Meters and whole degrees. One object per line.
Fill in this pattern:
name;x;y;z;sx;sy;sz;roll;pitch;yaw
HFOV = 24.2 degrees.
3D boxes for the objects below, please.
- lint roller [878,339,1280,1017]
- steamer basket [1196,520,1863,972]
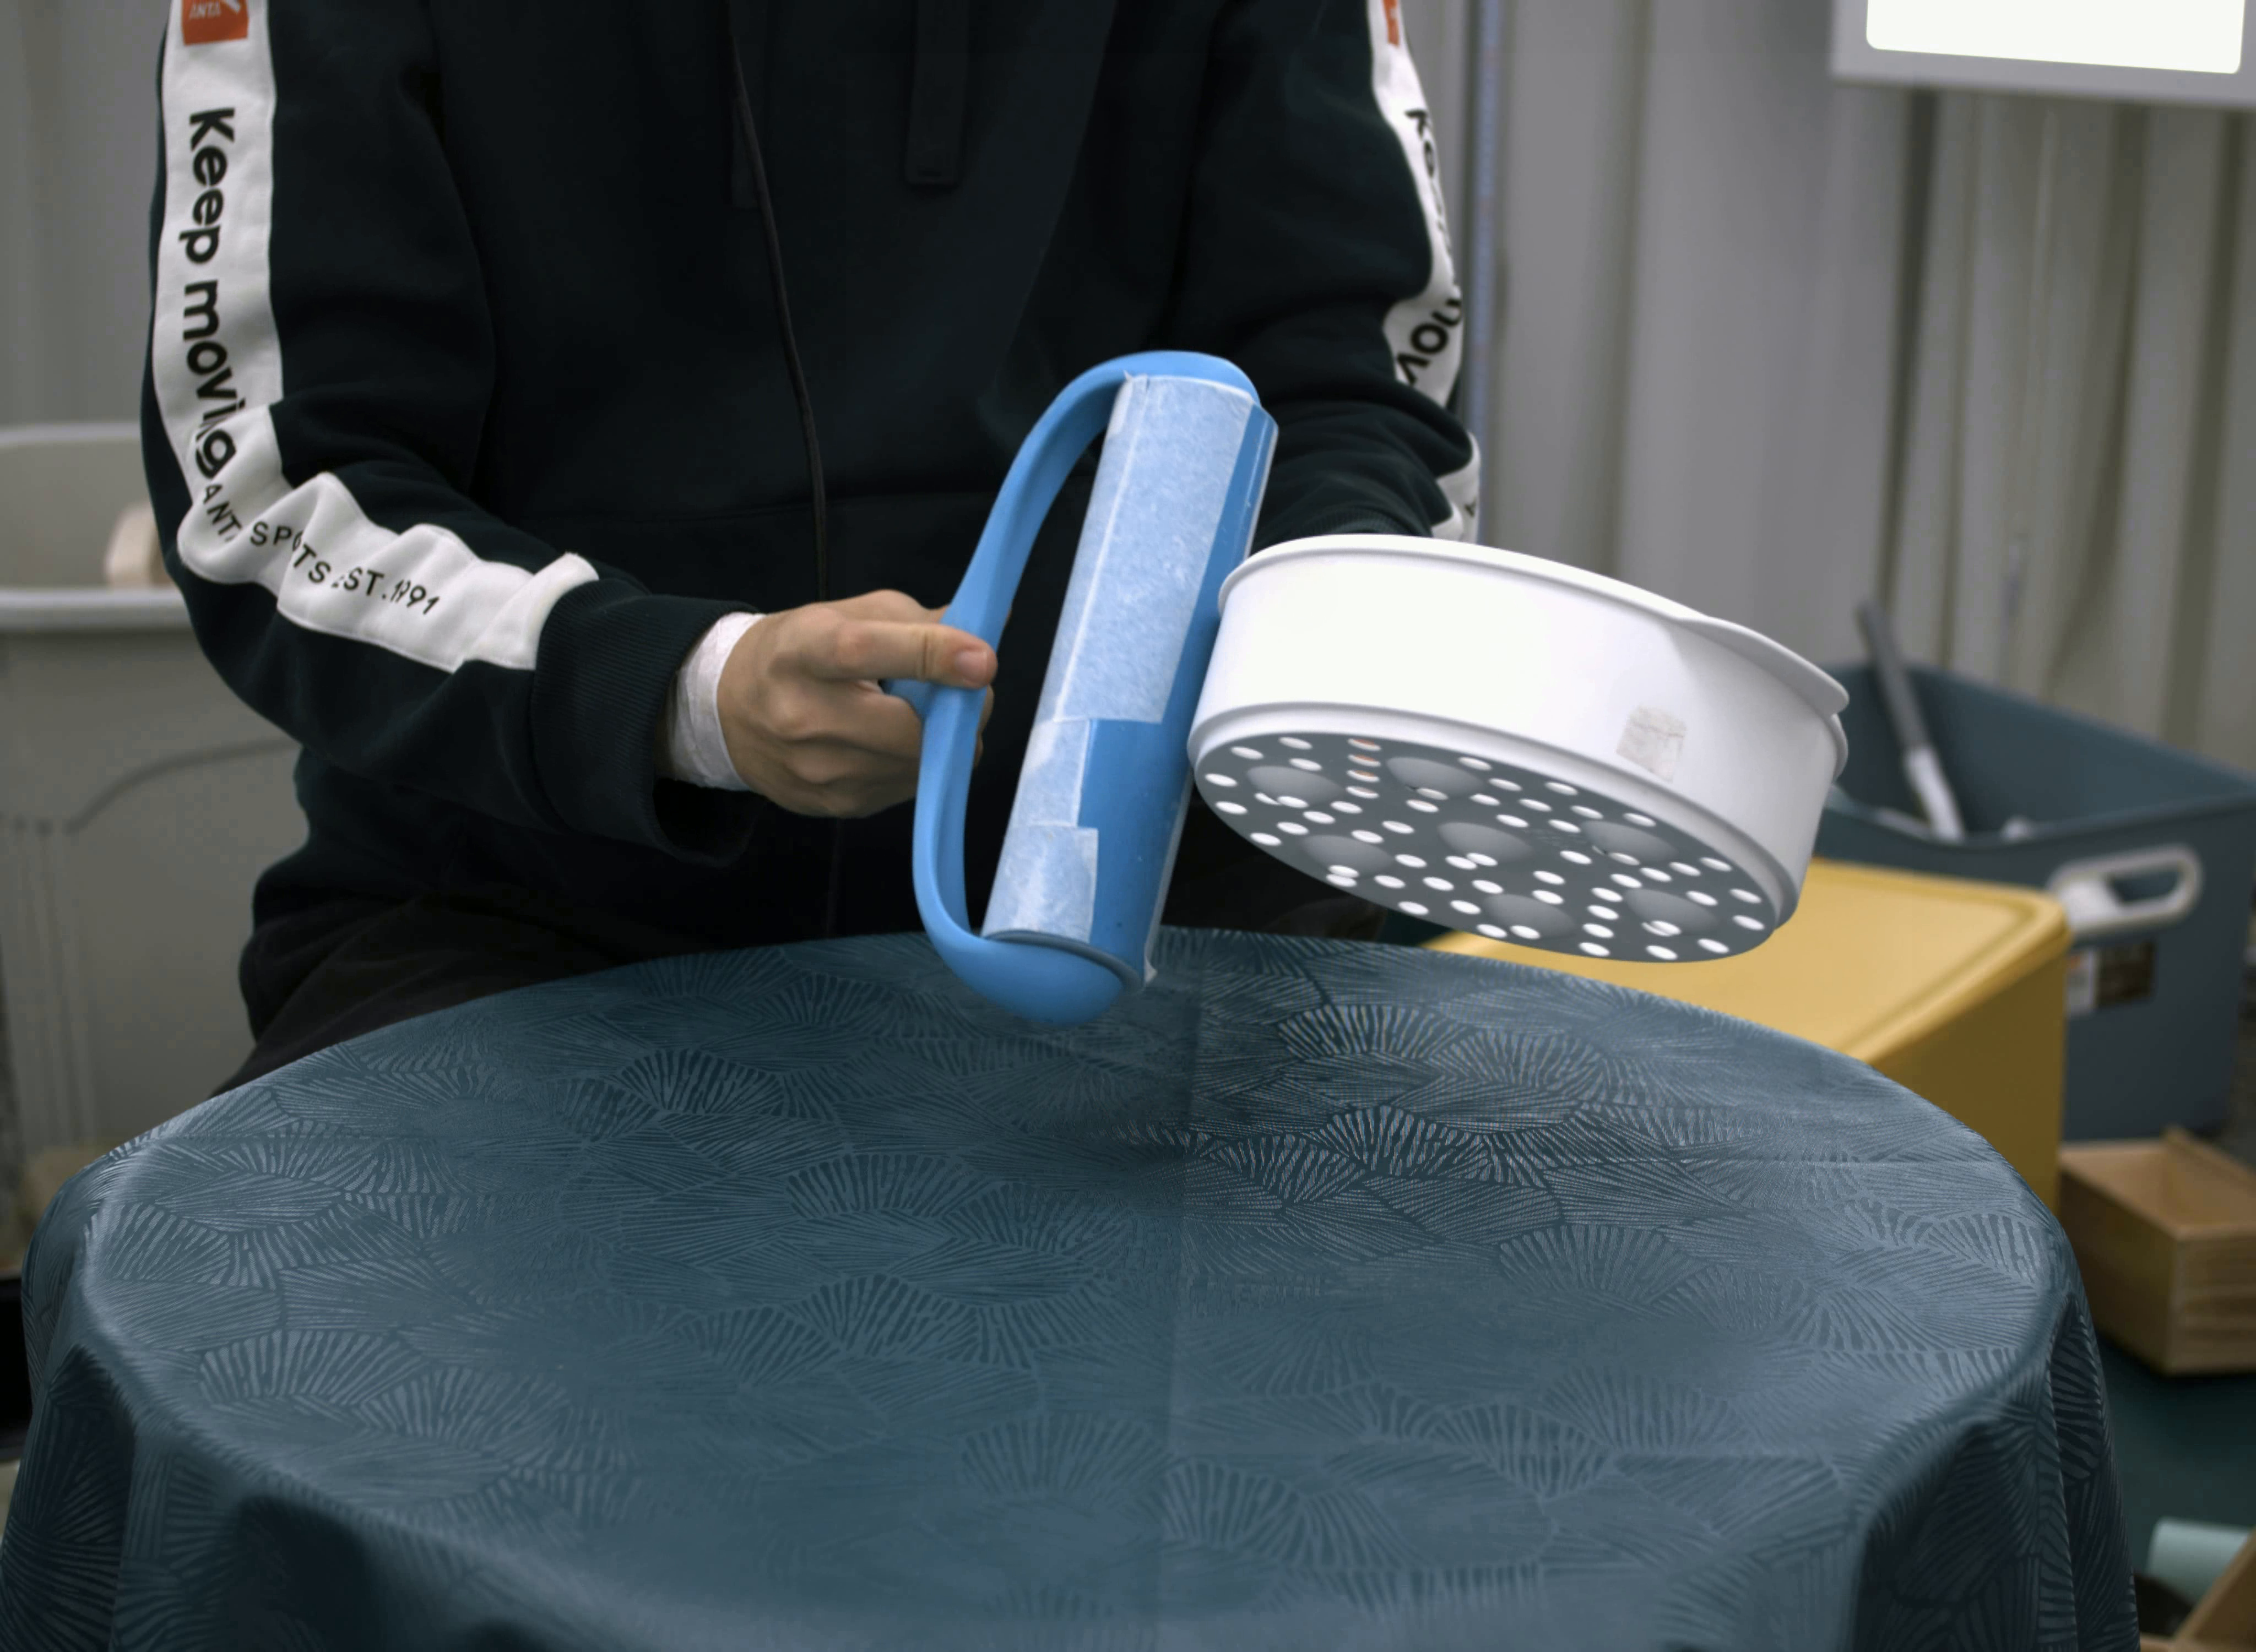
lint roller;-0.037;-0.039;1.692;0.069;0.228;0.179;26;-26;-38
steamer basket;0.119;-0.019;1.614;0.204;0.069;0.228;31;-23;-36
